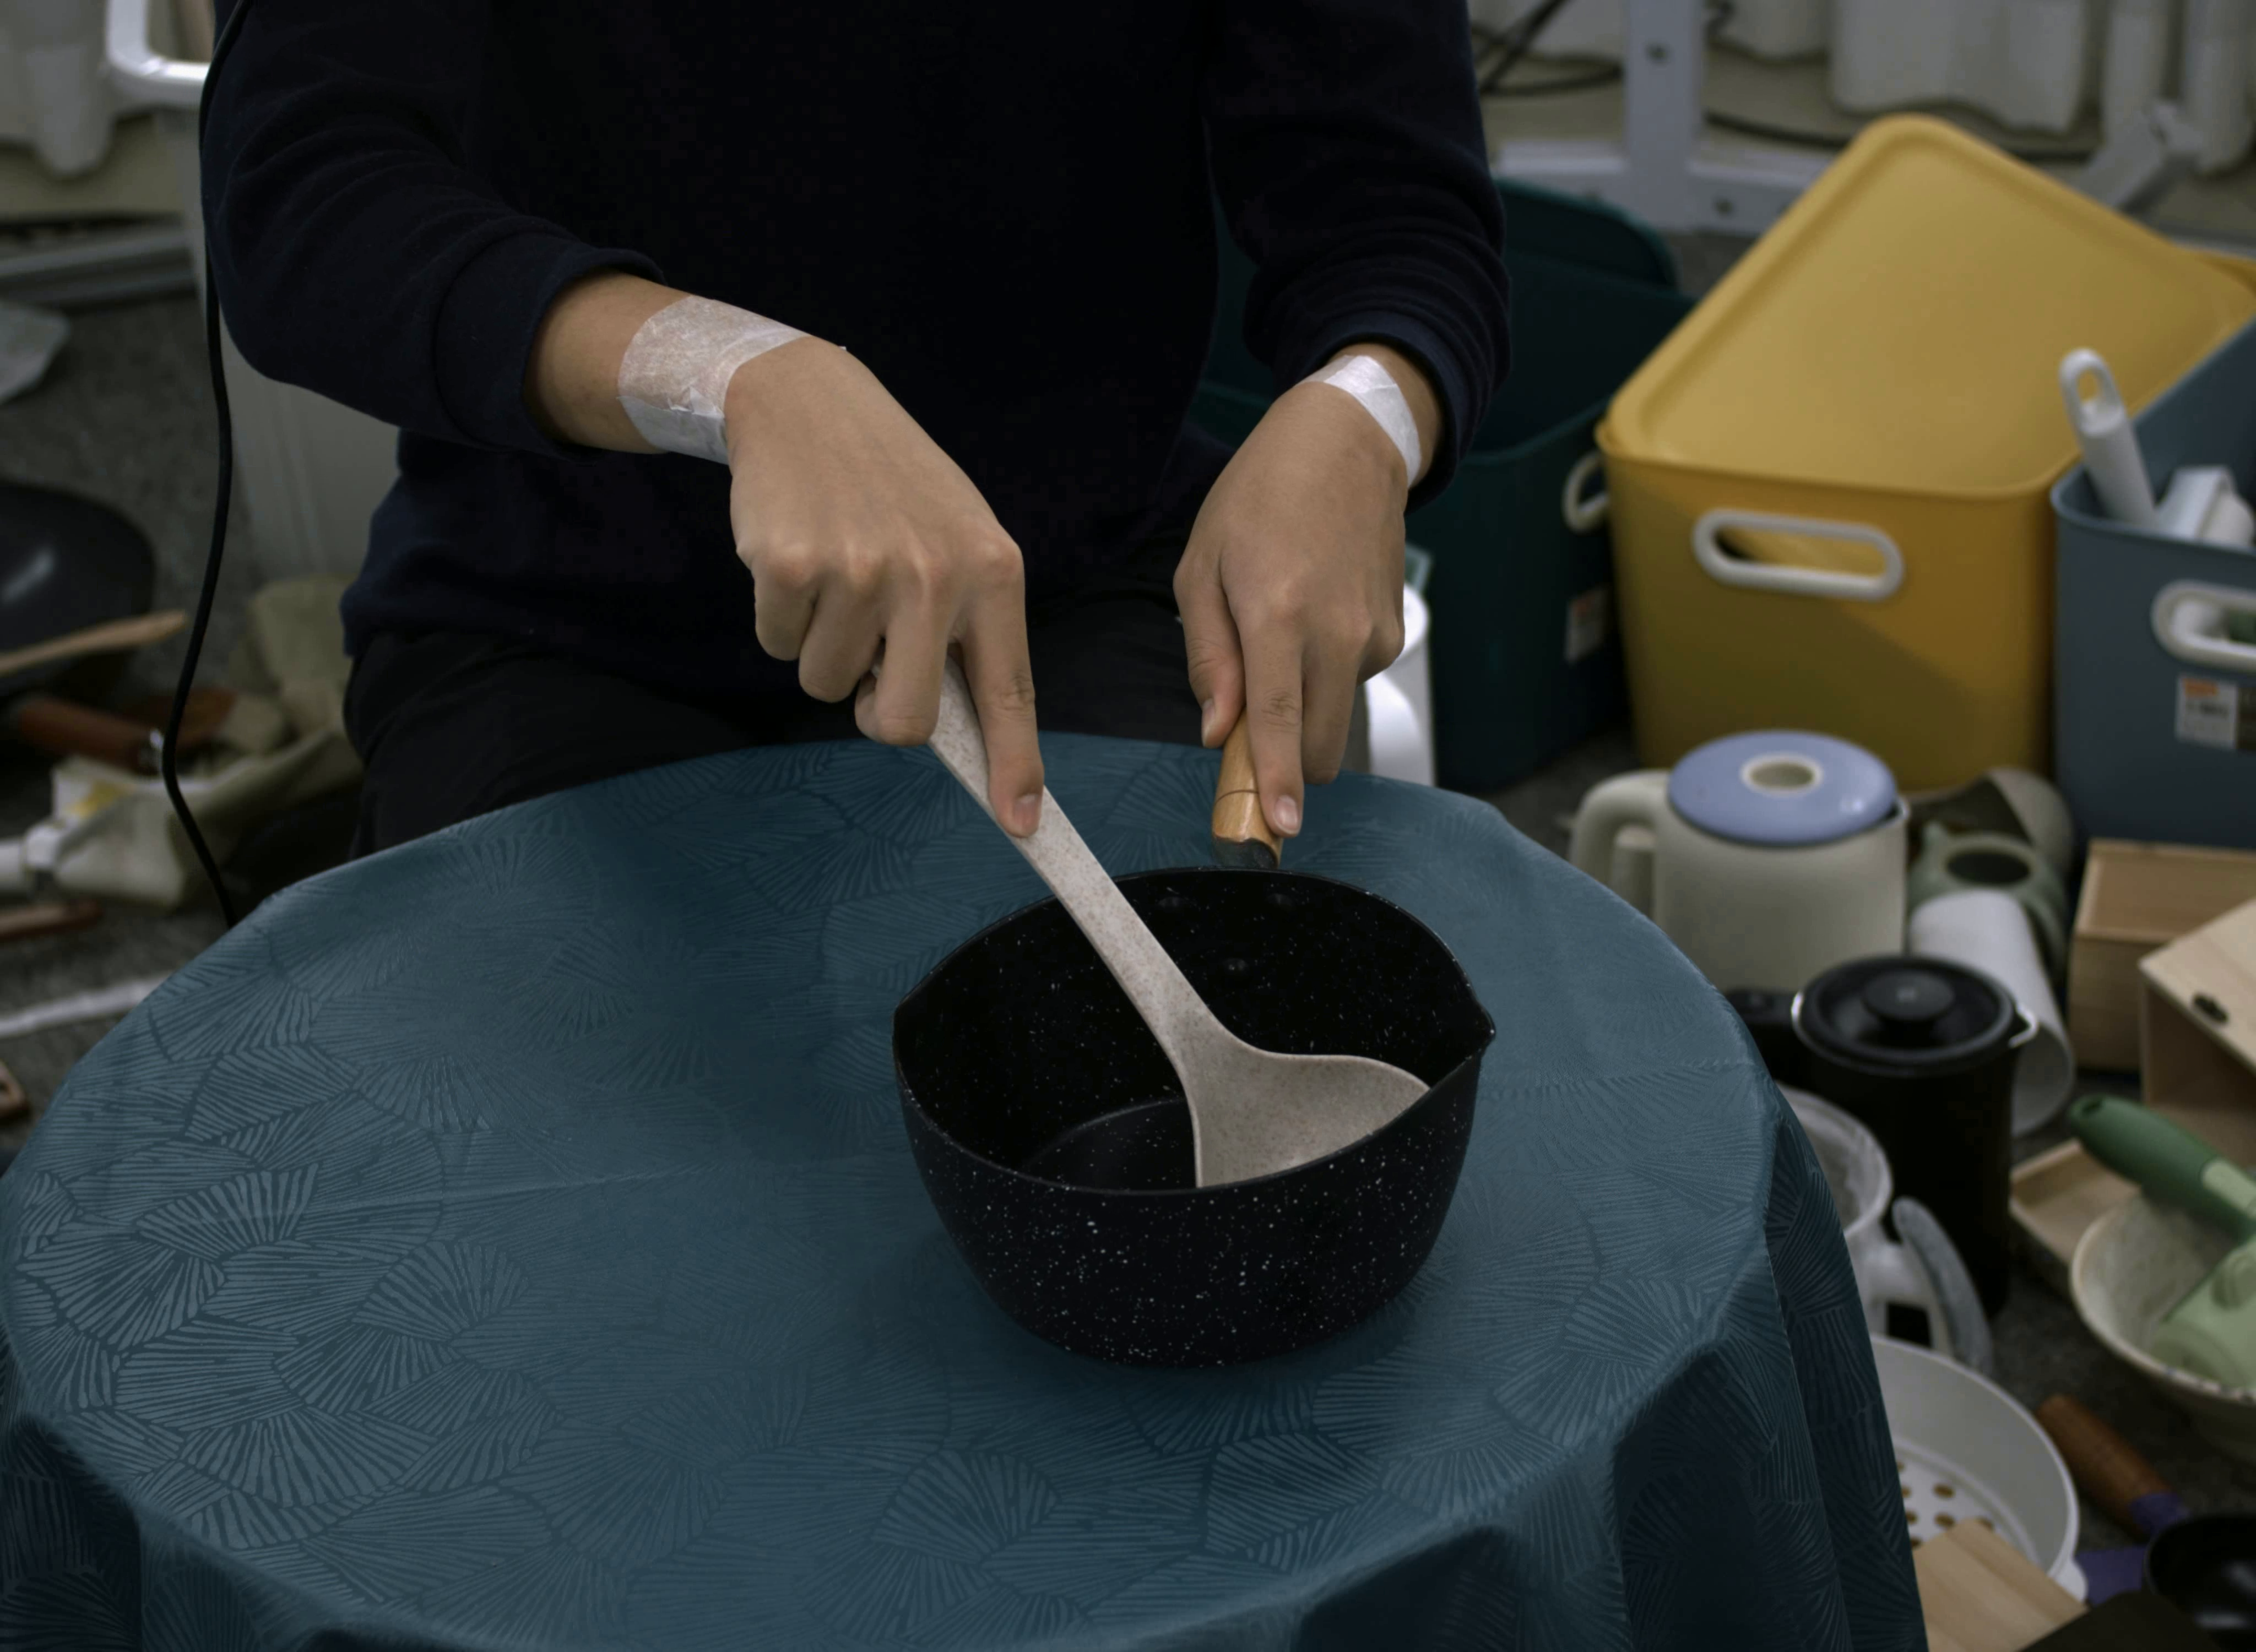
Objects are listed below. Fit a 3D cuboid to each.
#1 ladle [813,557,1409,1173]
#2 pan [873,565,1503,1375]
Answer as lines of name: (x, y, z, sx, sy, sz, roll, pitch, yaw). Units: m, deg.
ladle: (-0.003, 0.020, 1.789, 0.090, 0.274, 0.068, -40, 9, -27)
pan: (0.032, 0.045, 1.868, 0.206, 0.107, 0.349, -1, 33, 10)
